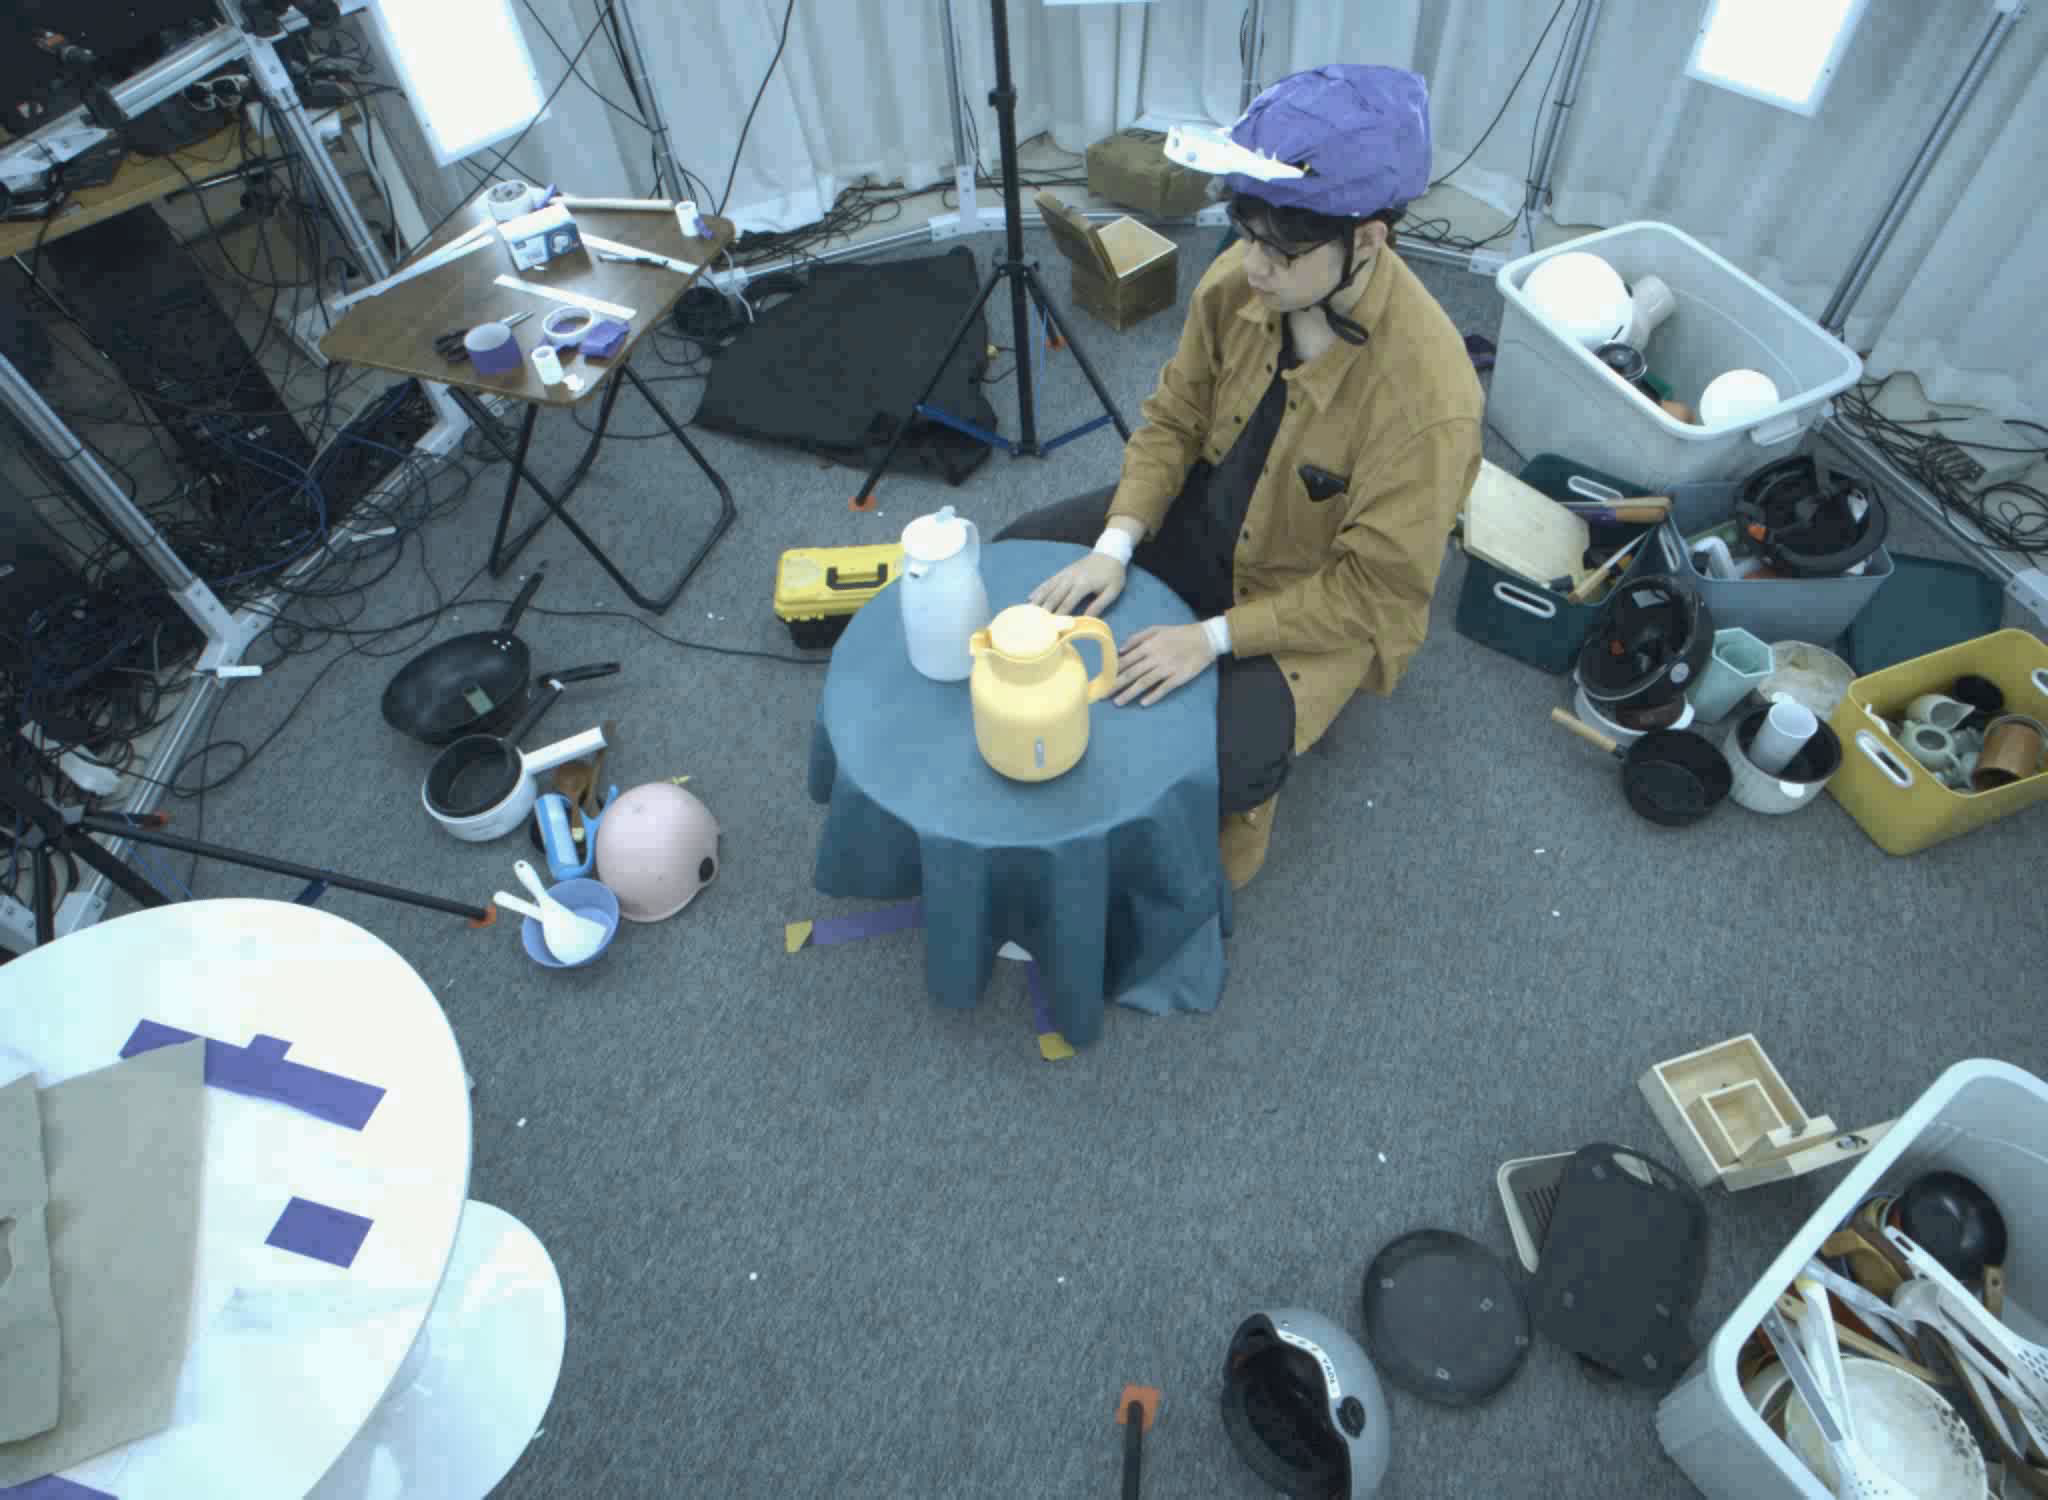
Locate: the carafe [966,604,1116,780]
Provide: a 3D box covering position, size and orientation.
[{"bbox_3d":[0.025,-0.087,1.683,0.203,0.263,0.161,-10,56,-2],"label":"carafe"}]

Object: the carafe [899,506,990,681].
[{"bbox_3d":[-0.115,-0.244,1.806,0.131,0.251,0.168,19,57,17],"label":"carafe"}]
